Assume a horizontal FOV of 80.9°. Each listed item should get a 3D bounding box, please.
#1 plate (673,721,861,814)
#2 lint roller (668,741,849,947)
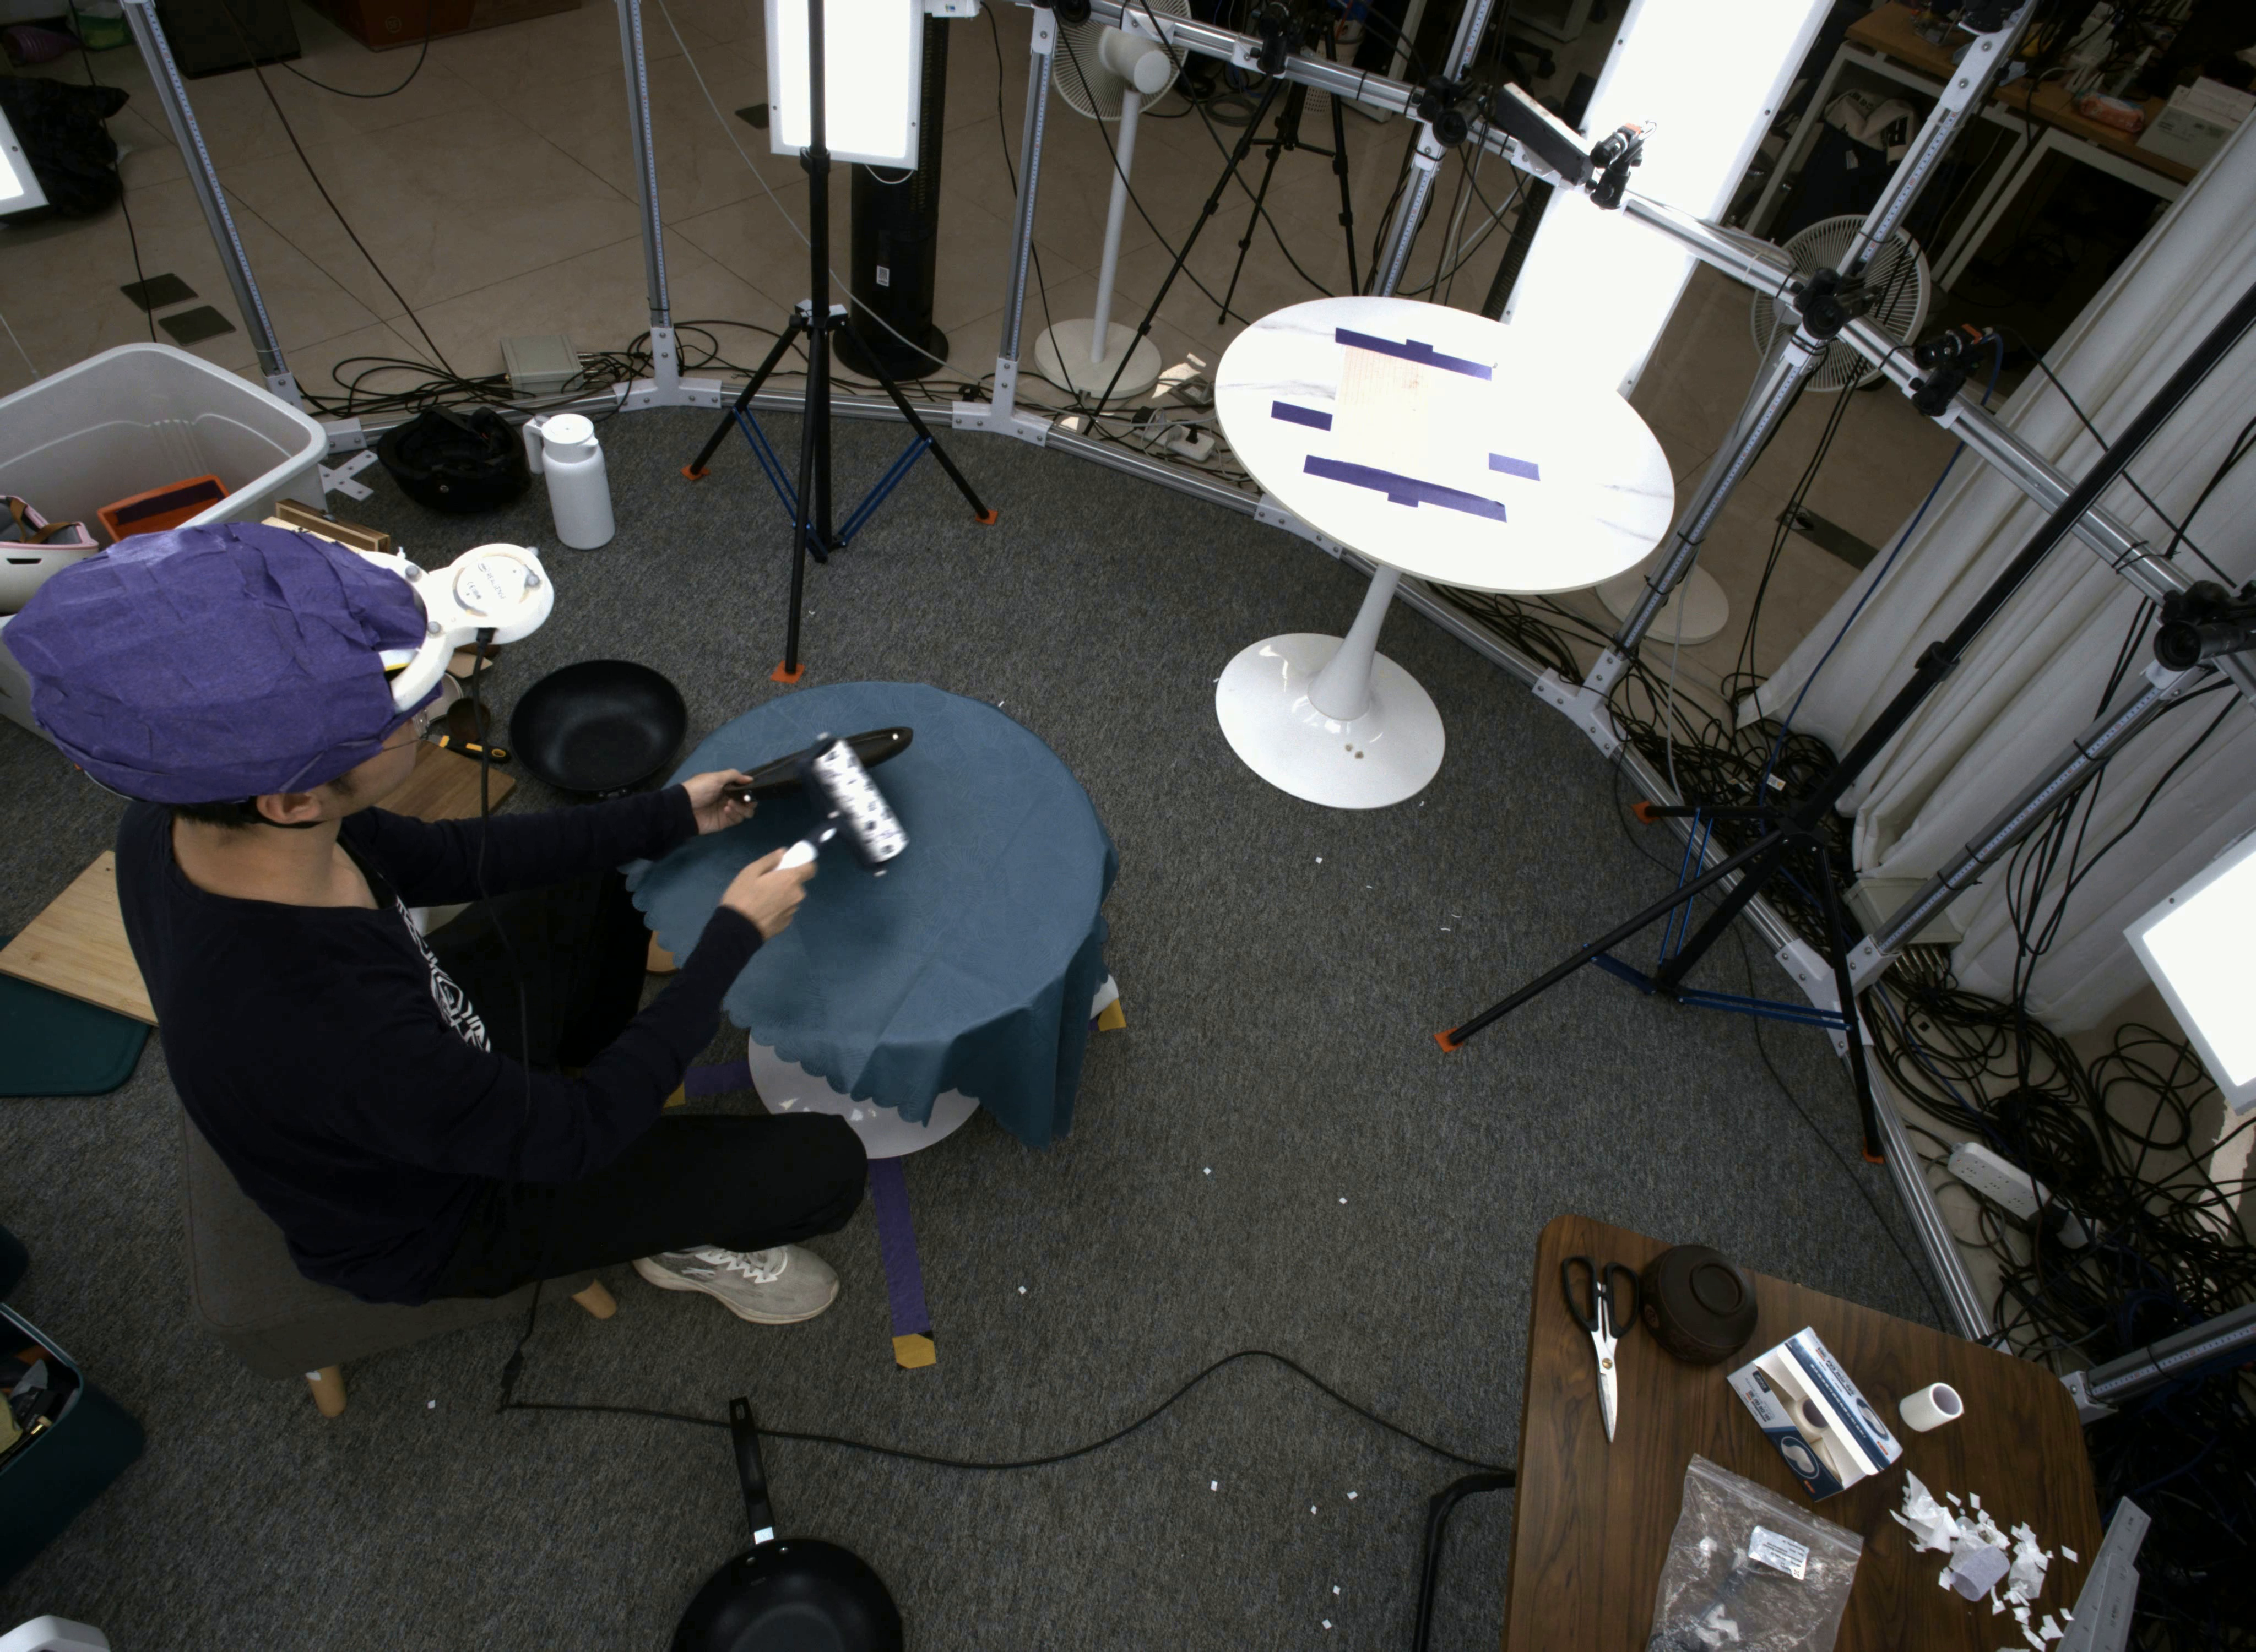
[{"bbox_3d":[-0.463,-0.074,1.667,0.251,0.030,0.251,-17,15,7],"label":"plate"},{"bbox_3d":[-0.441,0.045,1.498,0.048,0.183,0.246,4,46,37],"label":"lint roller"}]
